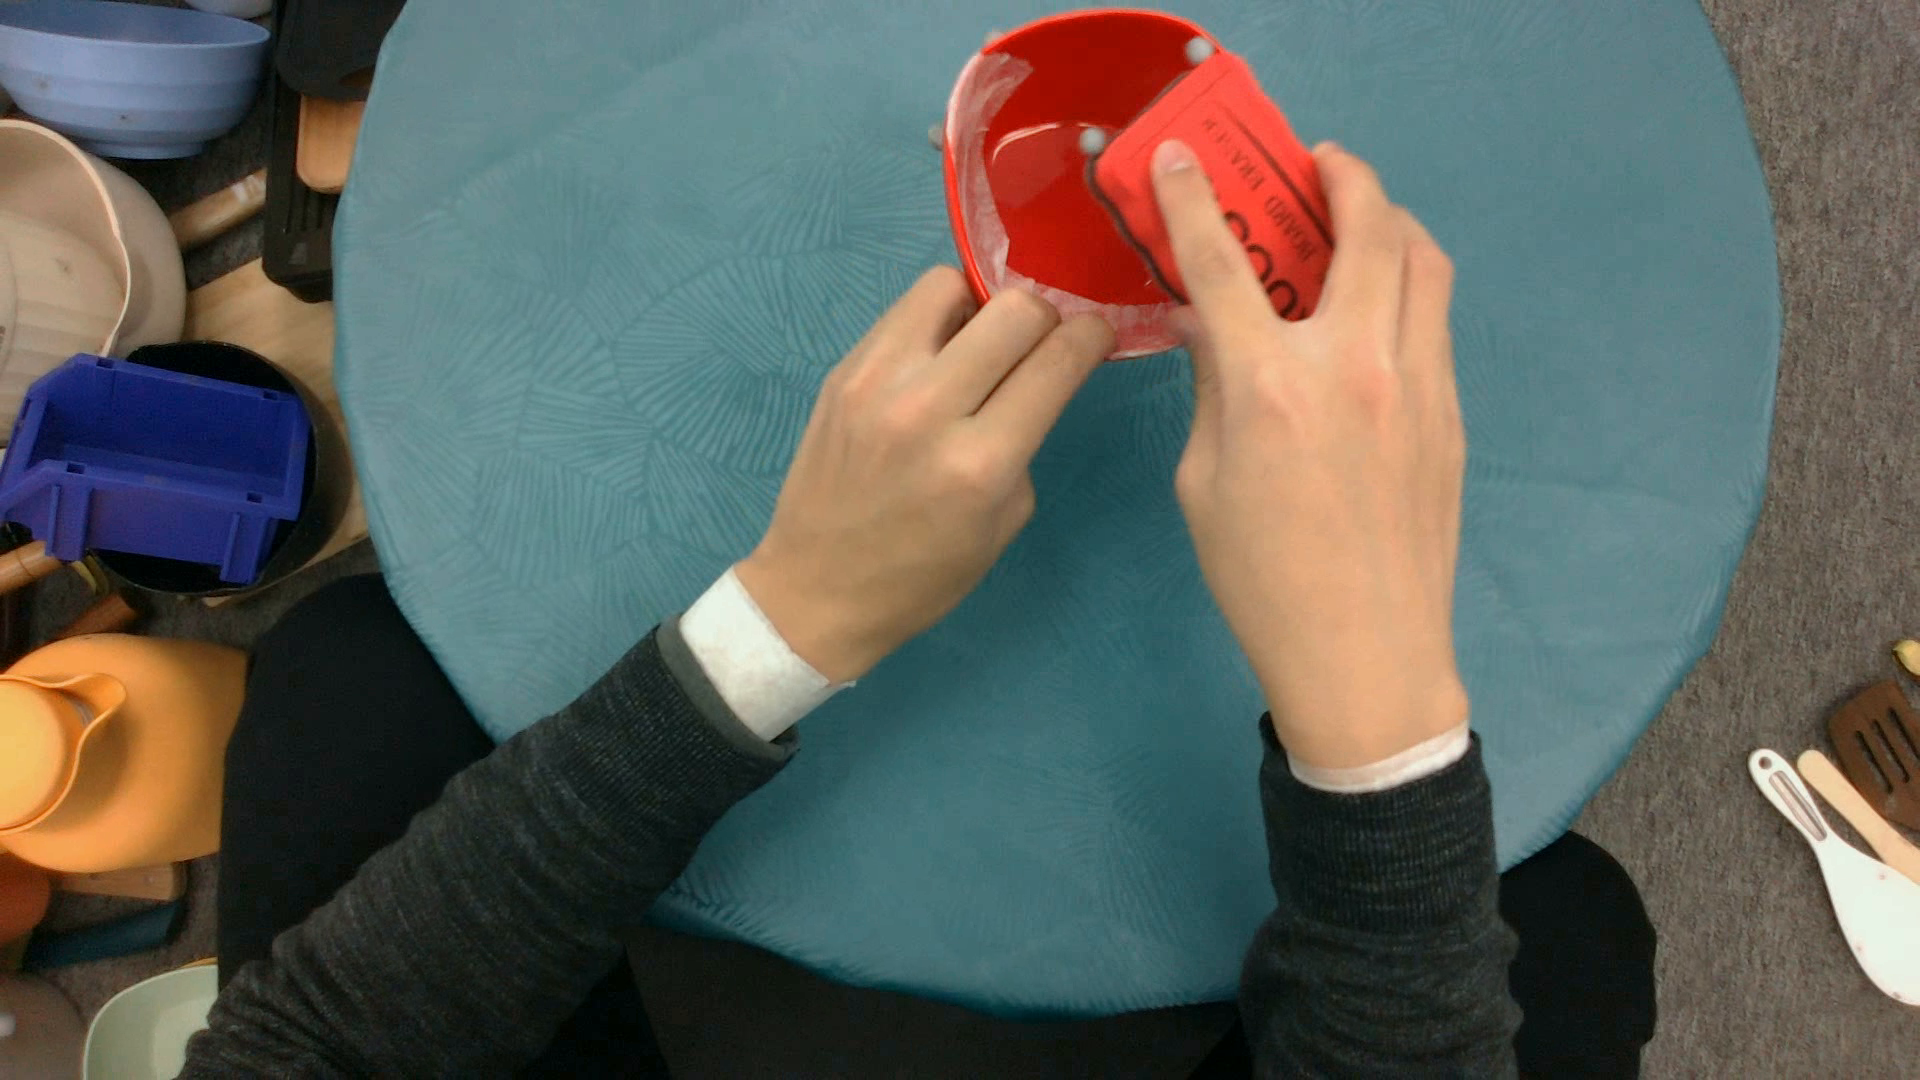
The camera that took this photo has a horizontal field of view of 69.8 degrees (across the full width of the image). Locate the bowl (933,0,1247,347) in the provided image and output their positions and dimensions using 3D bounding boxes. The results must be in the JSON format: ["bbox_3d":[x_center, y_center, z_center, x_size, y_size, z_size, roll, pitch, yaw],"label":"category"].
[{"bbox_3d":[0.040,-0.118,0.464,0.119,0.051,0.119,0,90,-17],"label":"bowl"}]

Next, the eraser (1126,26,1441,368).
[{"bbox_3d":[0.107,-0.110,0.451,0.108,0.023,0.059,41,79,-21],"label":"eraser"}]
